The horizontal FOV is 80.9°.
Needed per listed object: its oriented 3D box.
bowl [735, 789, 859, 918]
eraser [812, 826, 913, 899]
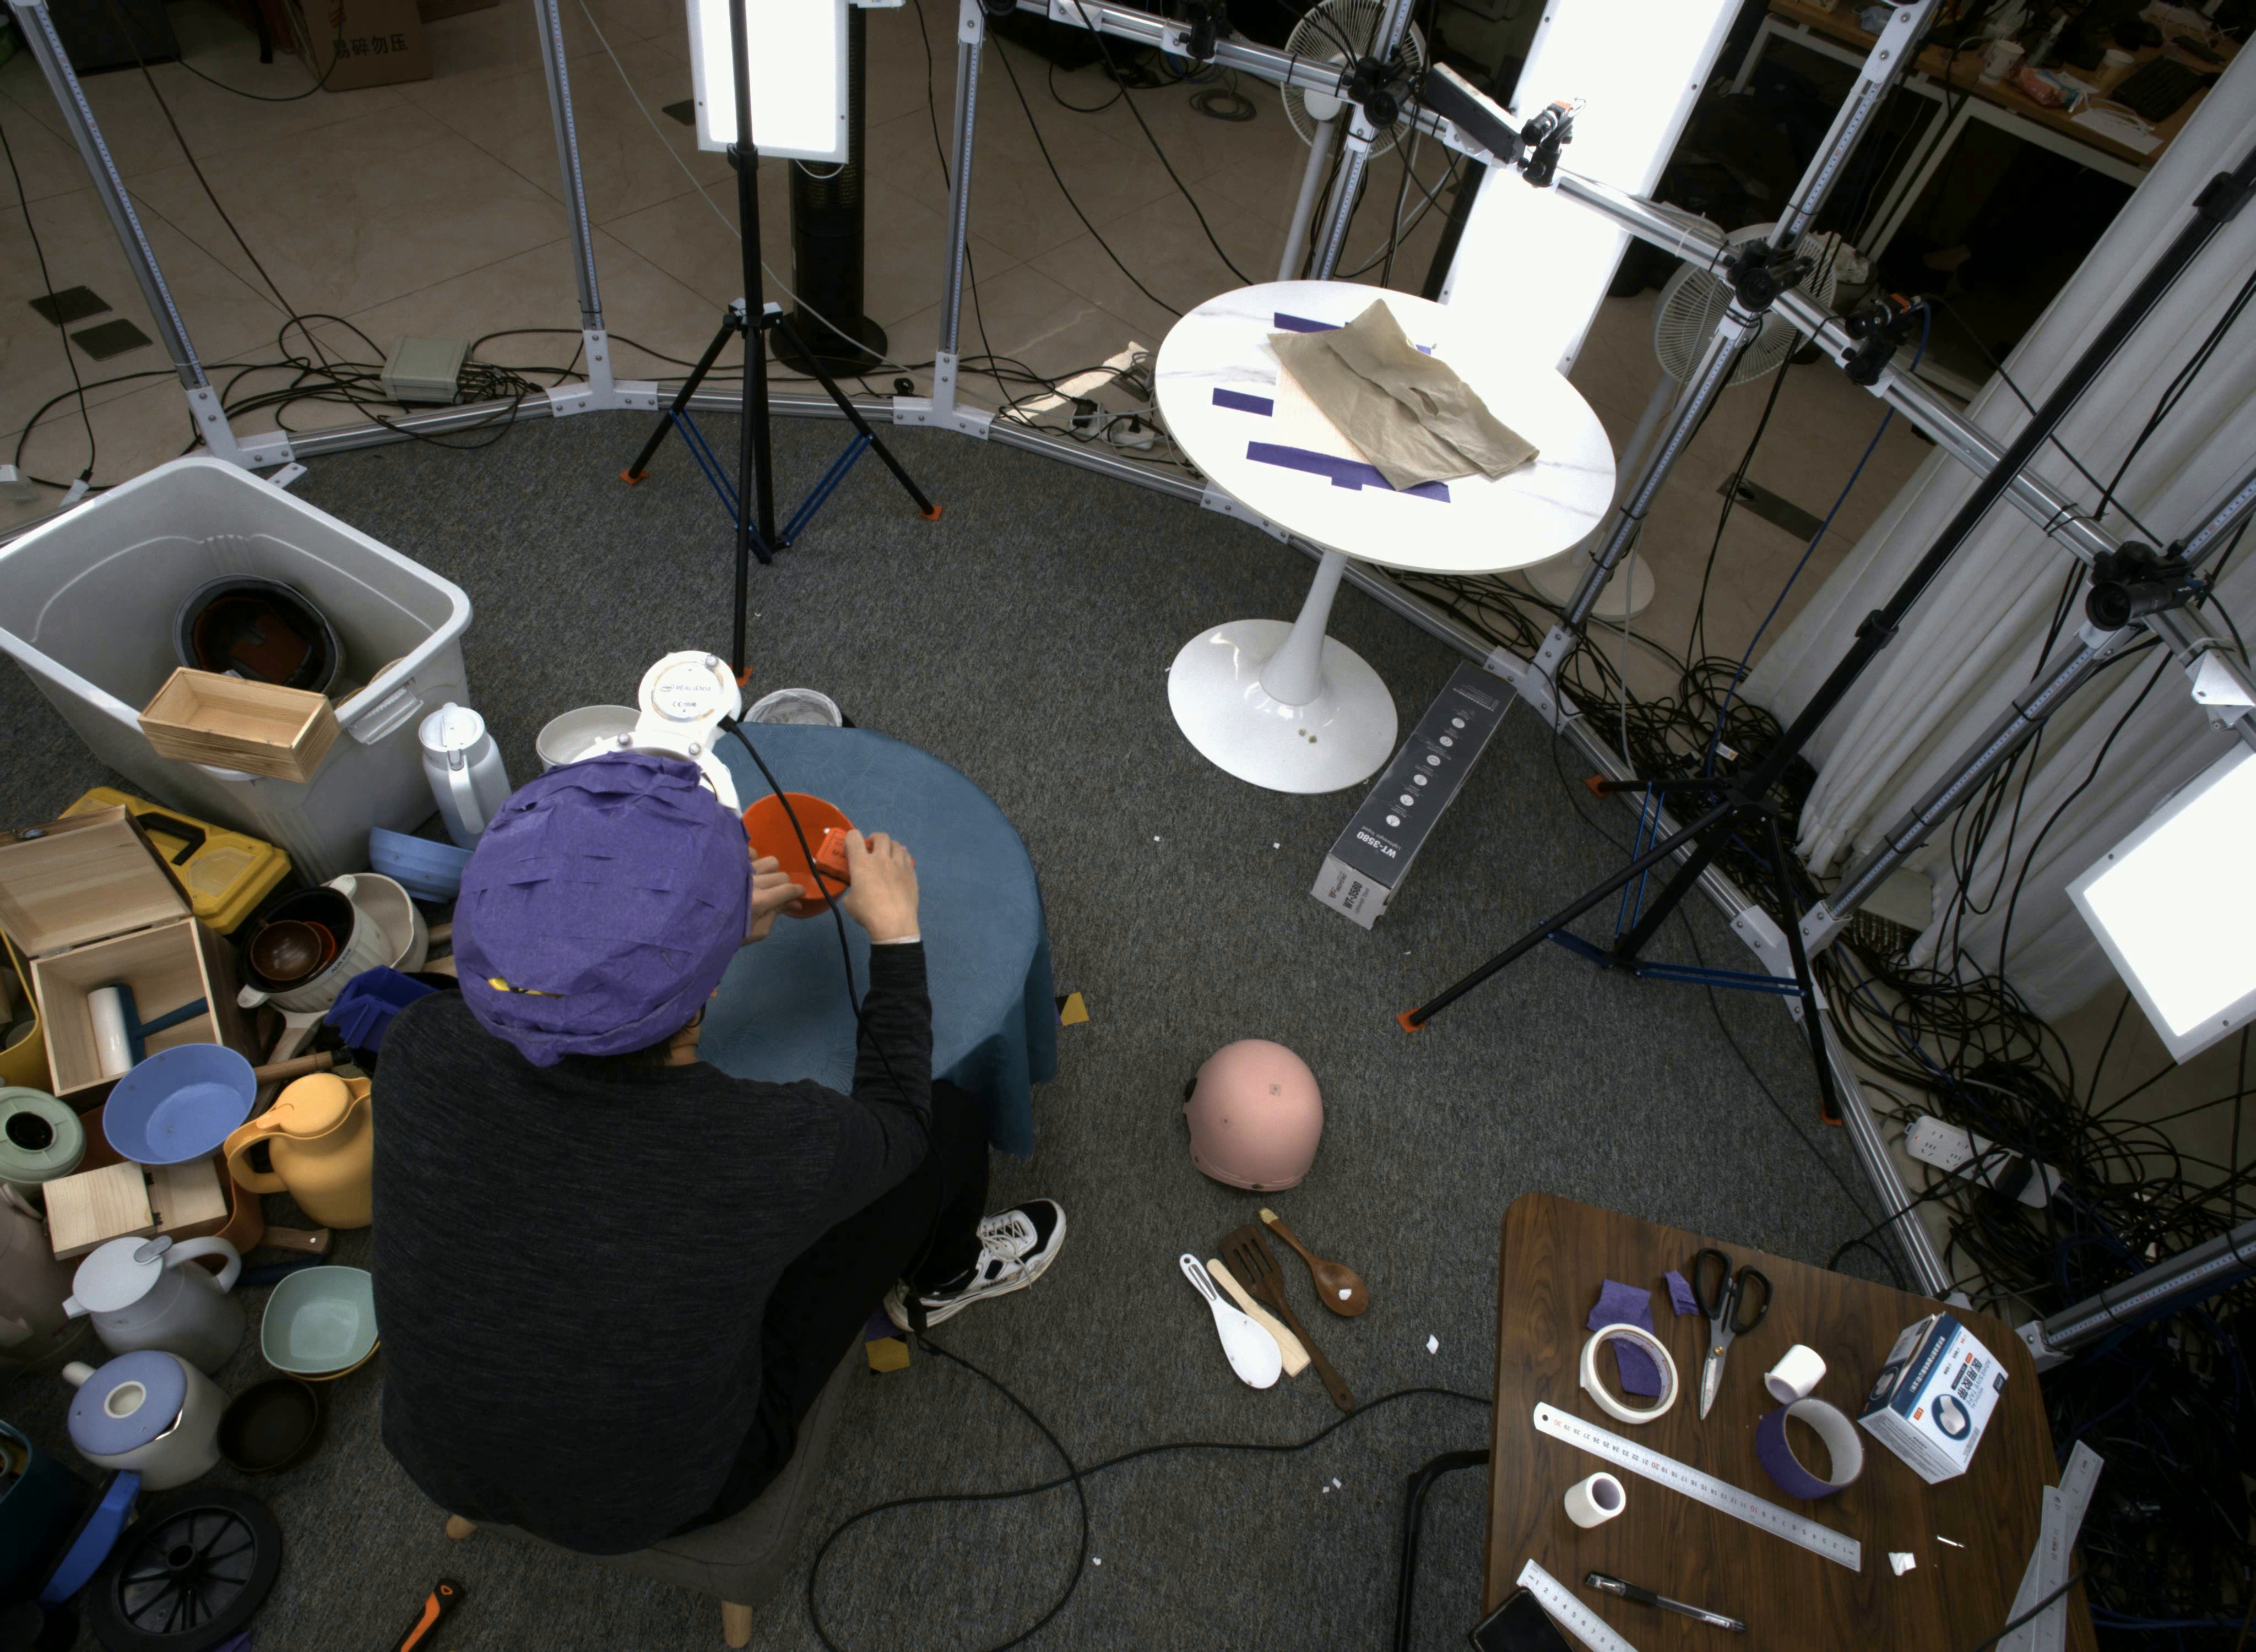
[{"bbox_3d":[-0.393,0.043,1.536,0.148,0.106,0.145,13,45,-12],"label":"bowl"},{"bbox_3d":[-0.309,0.041,1.513,0.108,0.023,0.058,21,46,-8],"label":"eraser"}]
